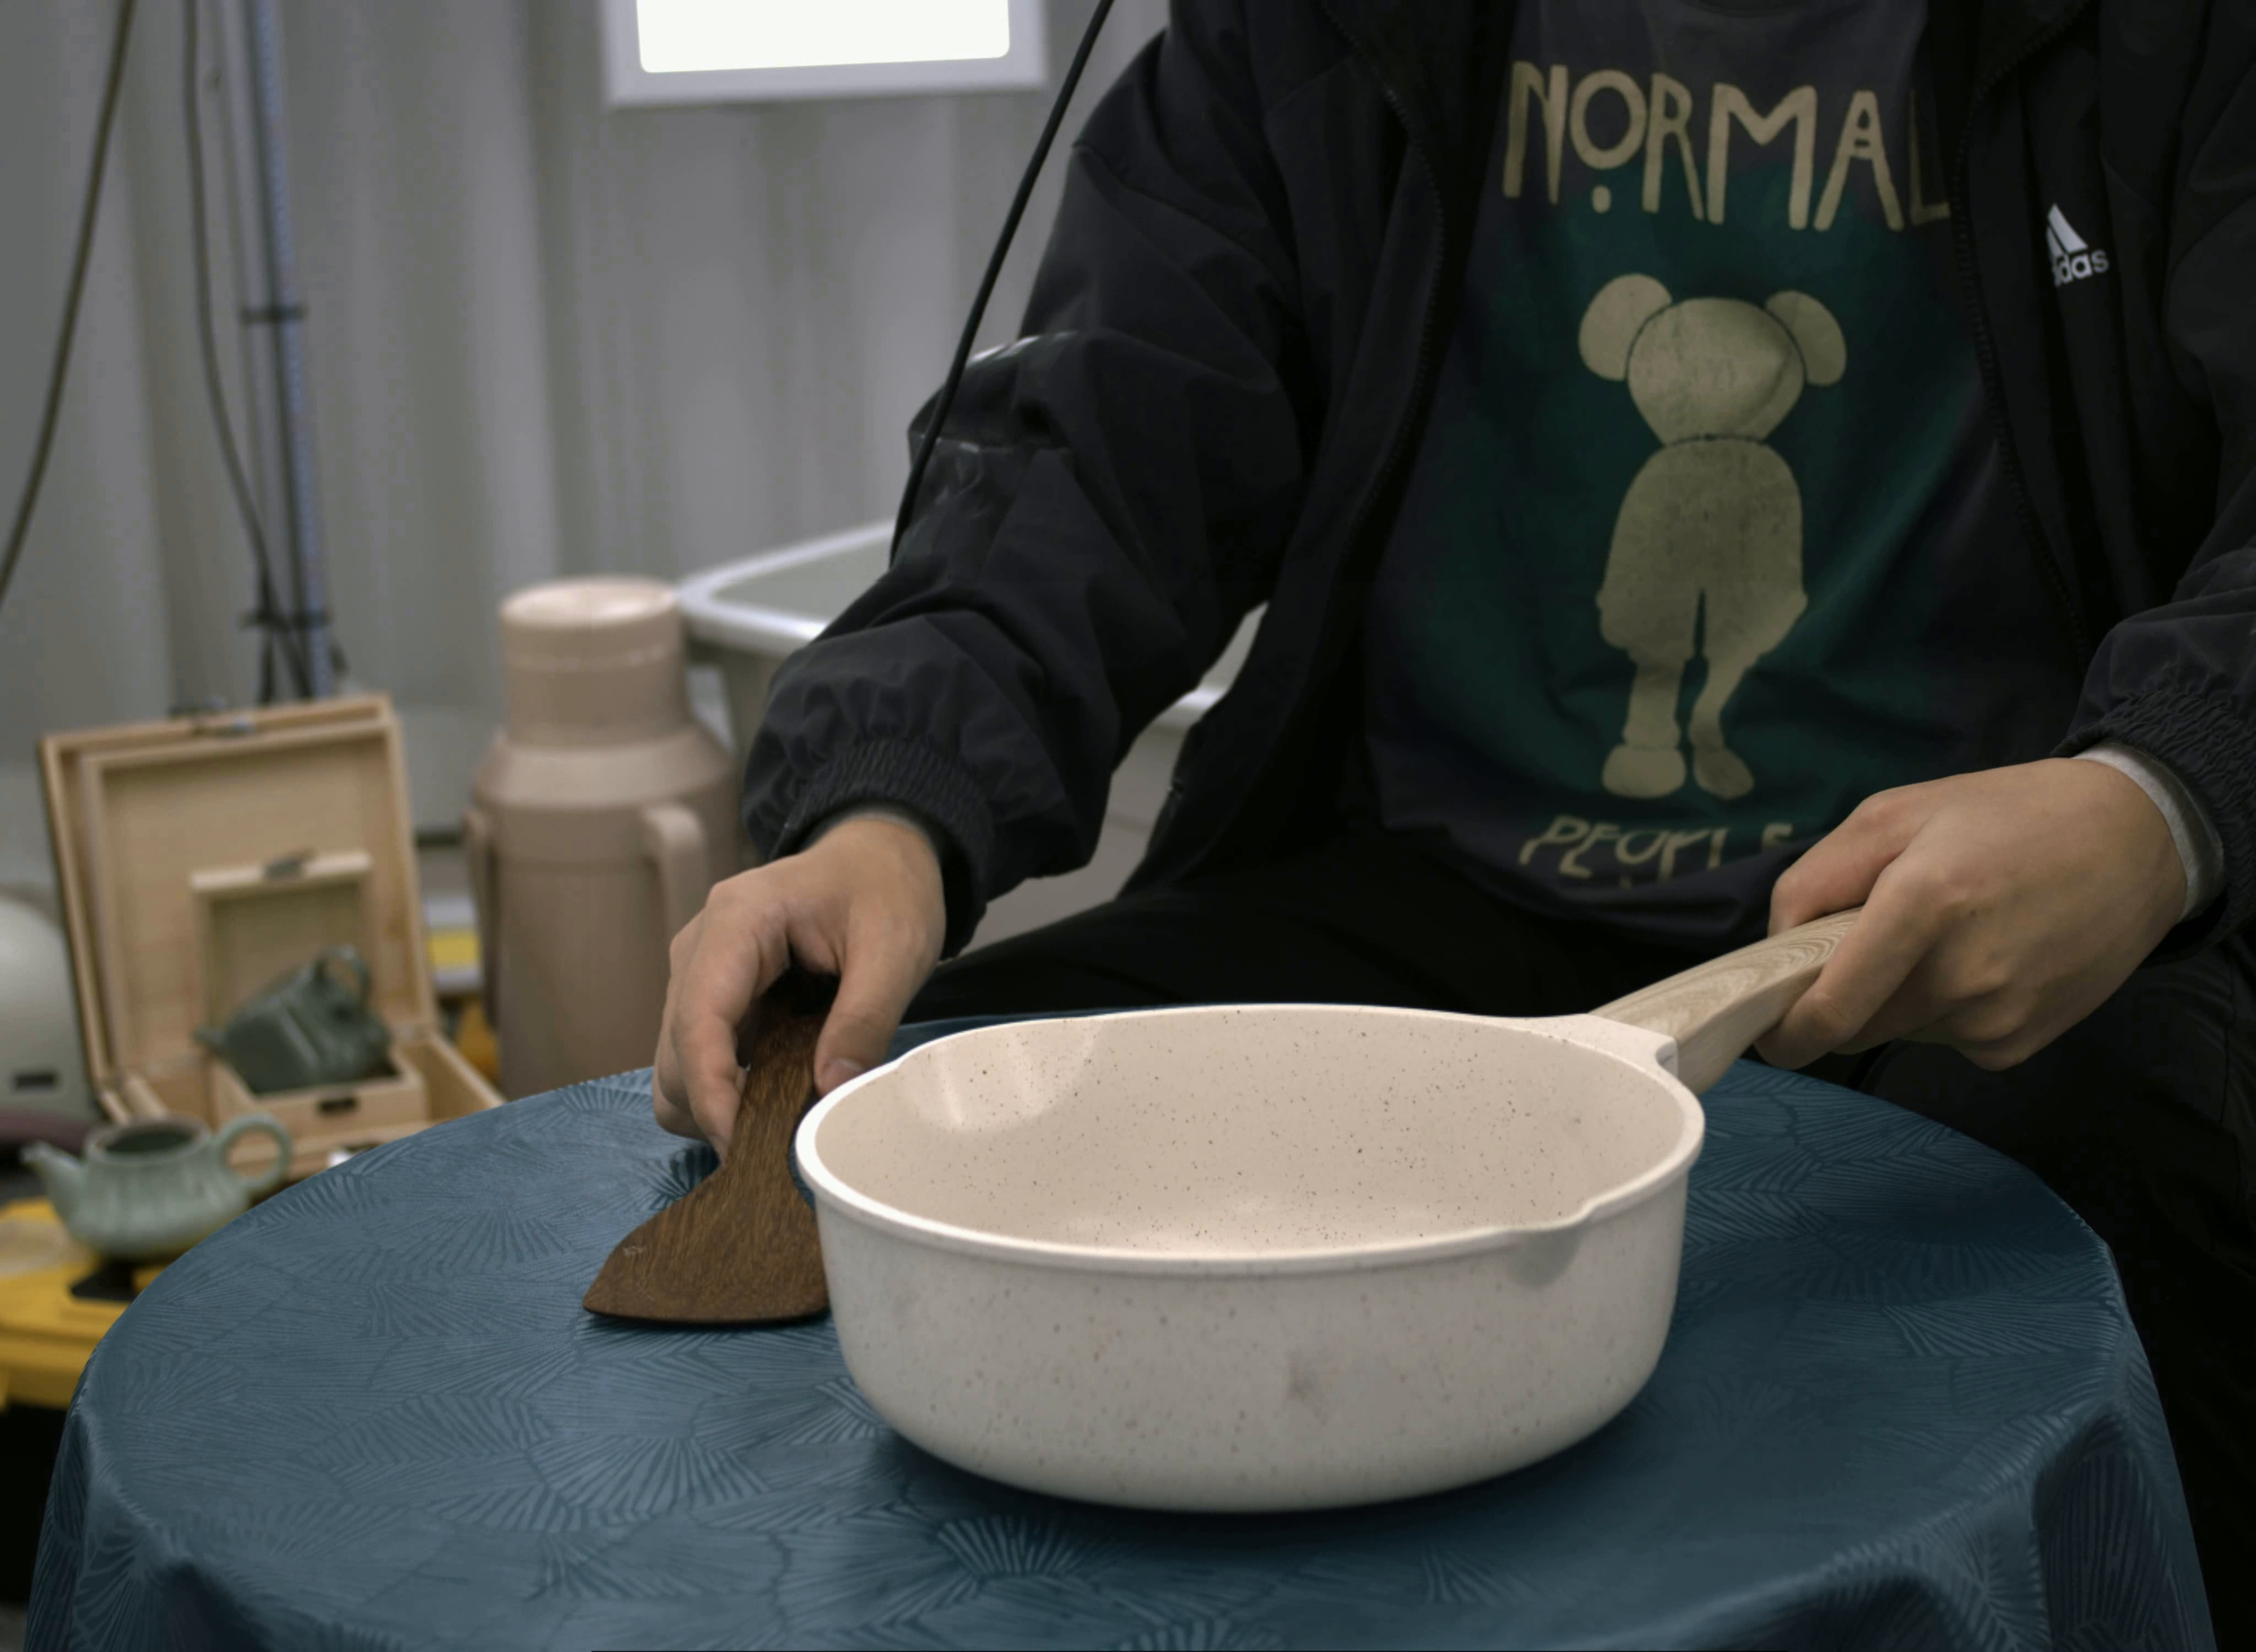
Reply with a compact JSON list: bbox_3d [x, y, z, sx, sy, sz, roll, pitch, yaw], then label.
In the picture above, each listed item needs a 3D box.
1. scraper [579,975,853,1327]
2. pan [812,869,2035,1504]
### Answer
[{"bbox_3d":[-0.115,0.100,1.704,0.075,0.011,0.213,1,28,7],"label":"scraper"},{"bbox_3d":[0.110,0.098,1.565,0.433,0.102,0.265,-11,14,-37],"label":"pan"}]
